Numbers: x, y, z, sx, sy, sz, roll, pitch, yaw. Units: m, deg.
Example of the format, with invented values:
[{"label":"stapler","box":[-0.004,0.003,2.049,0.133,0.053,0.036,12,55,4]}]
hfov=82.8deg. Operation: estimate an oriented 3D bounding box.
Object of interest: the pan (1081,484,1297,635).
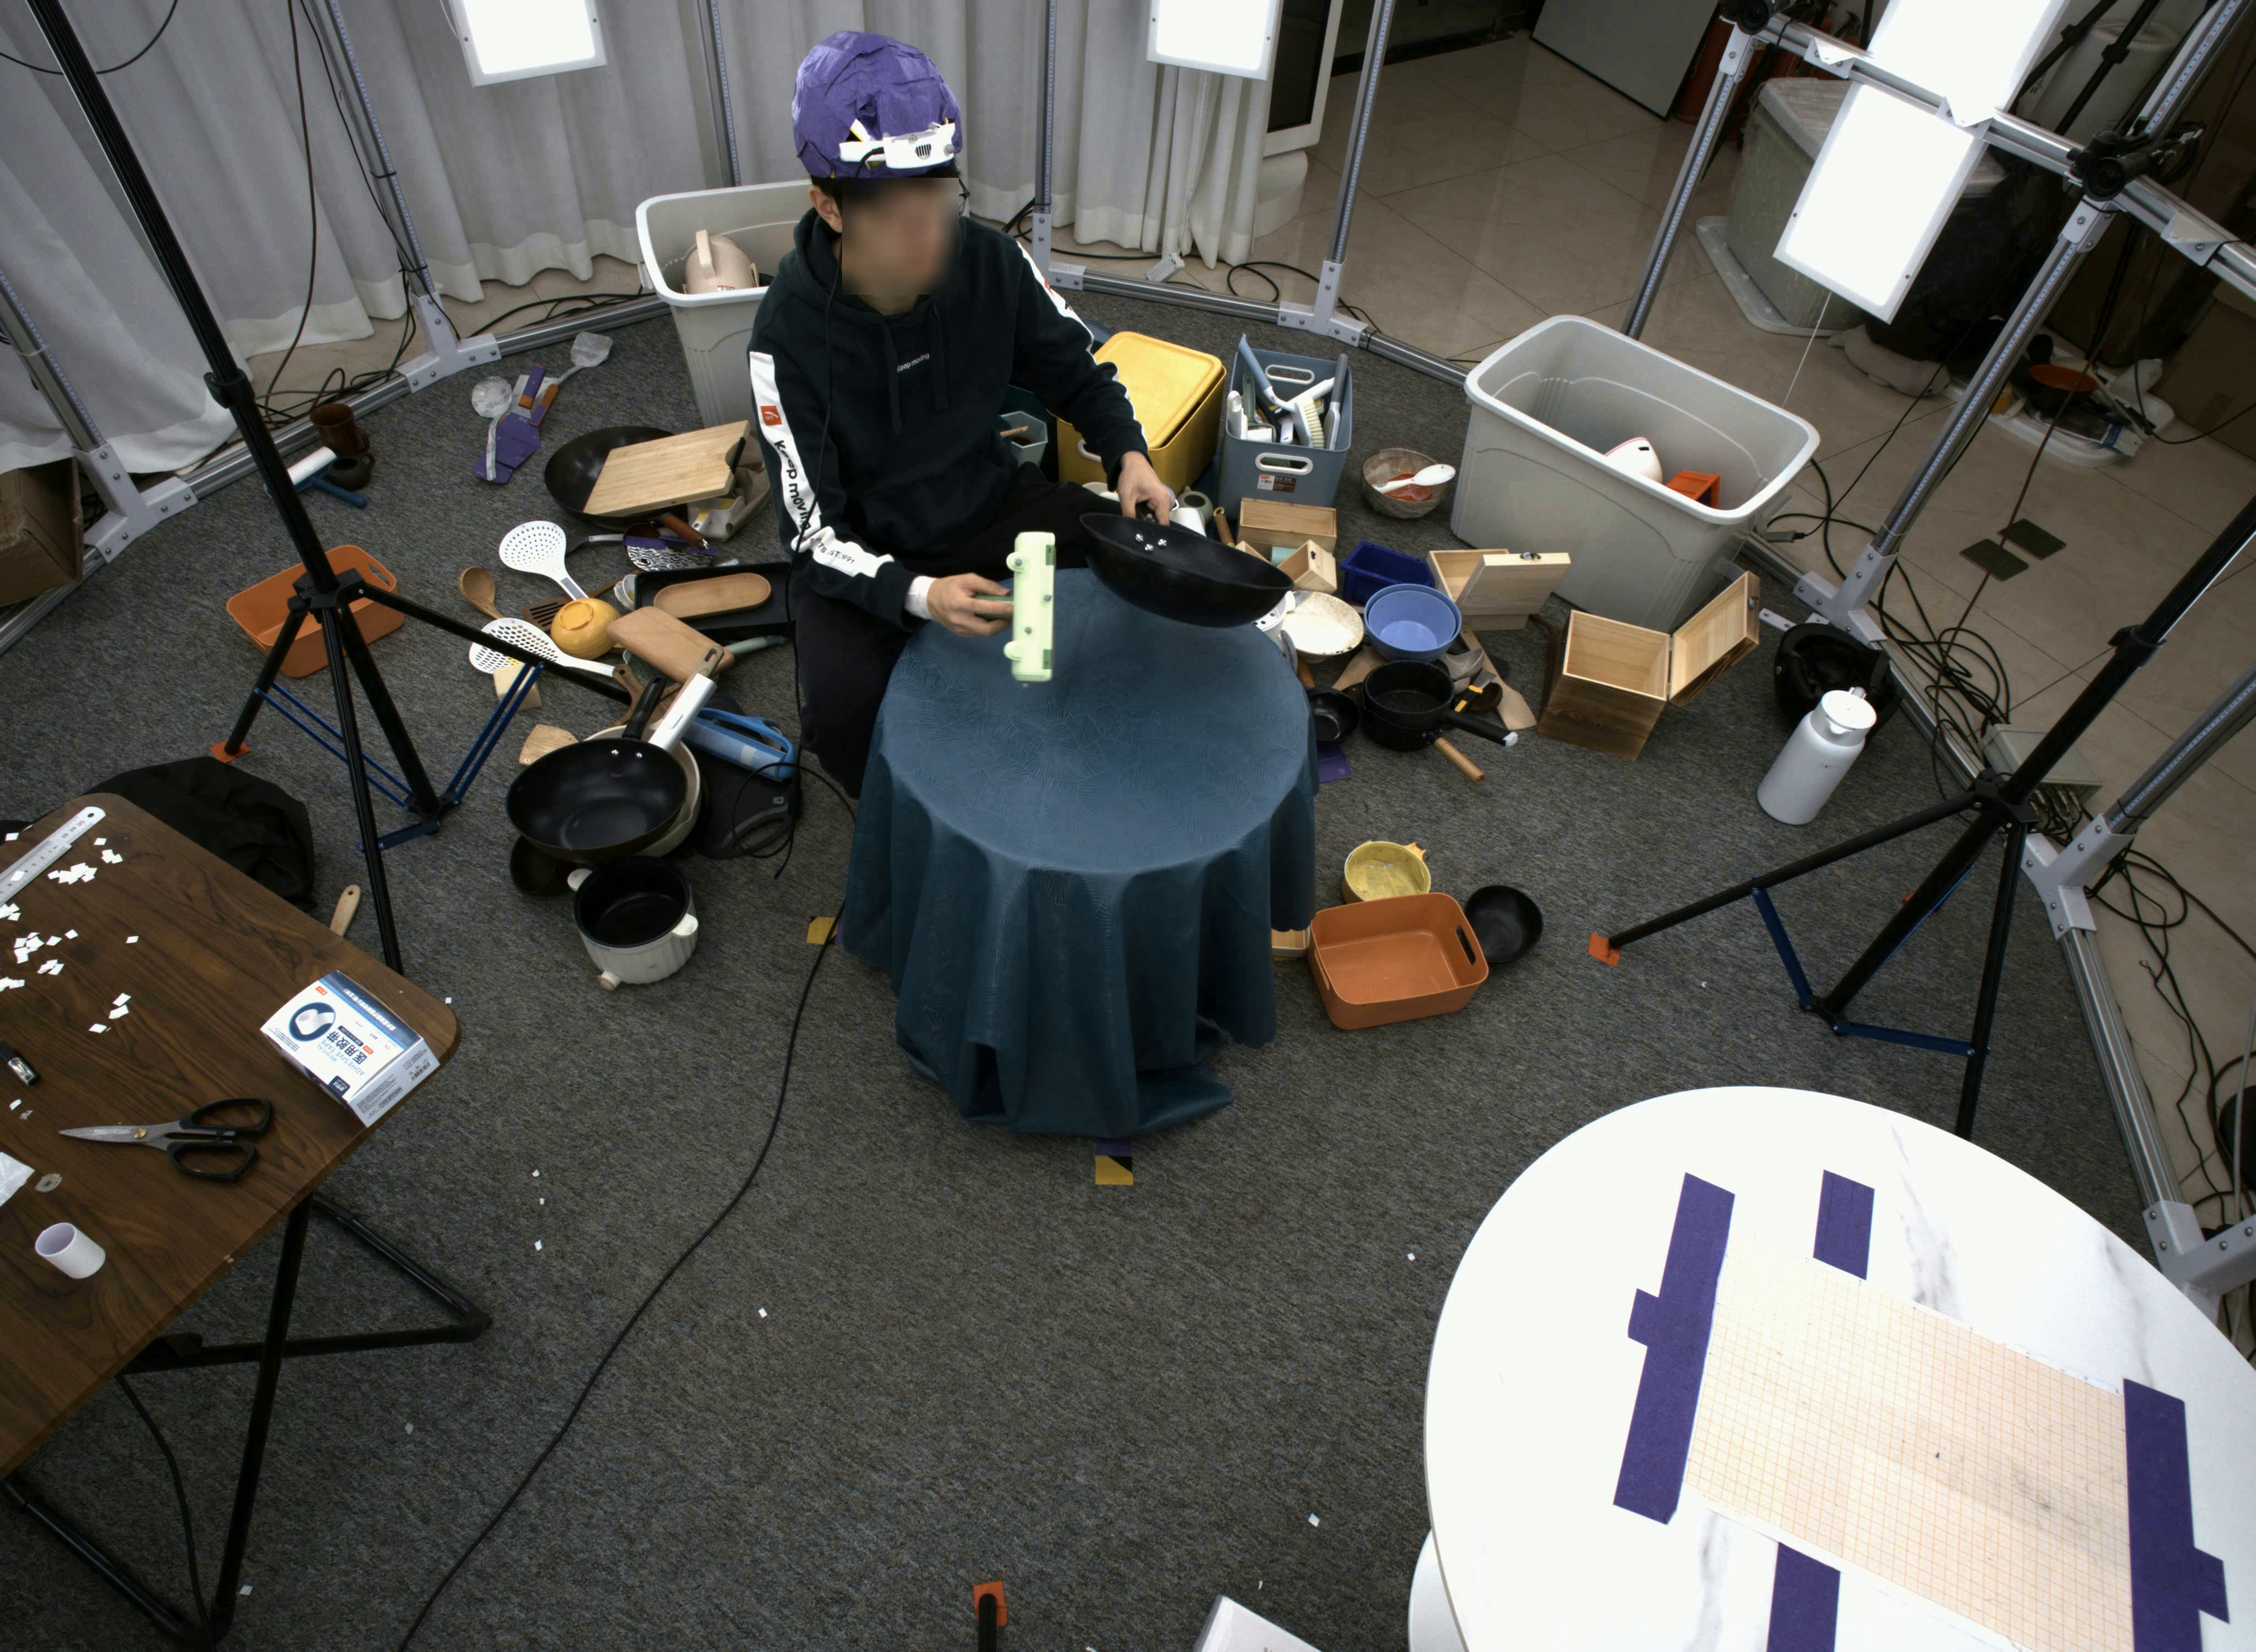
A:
[{"label":"pan","box":[0.053,-0.383,1.842,0.308,0.110,0.486,9,23,-22]}]

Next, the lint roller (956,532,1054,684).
[{"label":"lint roller","box":[-0.178,-0.294,1.738,0.184,0.198,0.082,6,5,32]}]
